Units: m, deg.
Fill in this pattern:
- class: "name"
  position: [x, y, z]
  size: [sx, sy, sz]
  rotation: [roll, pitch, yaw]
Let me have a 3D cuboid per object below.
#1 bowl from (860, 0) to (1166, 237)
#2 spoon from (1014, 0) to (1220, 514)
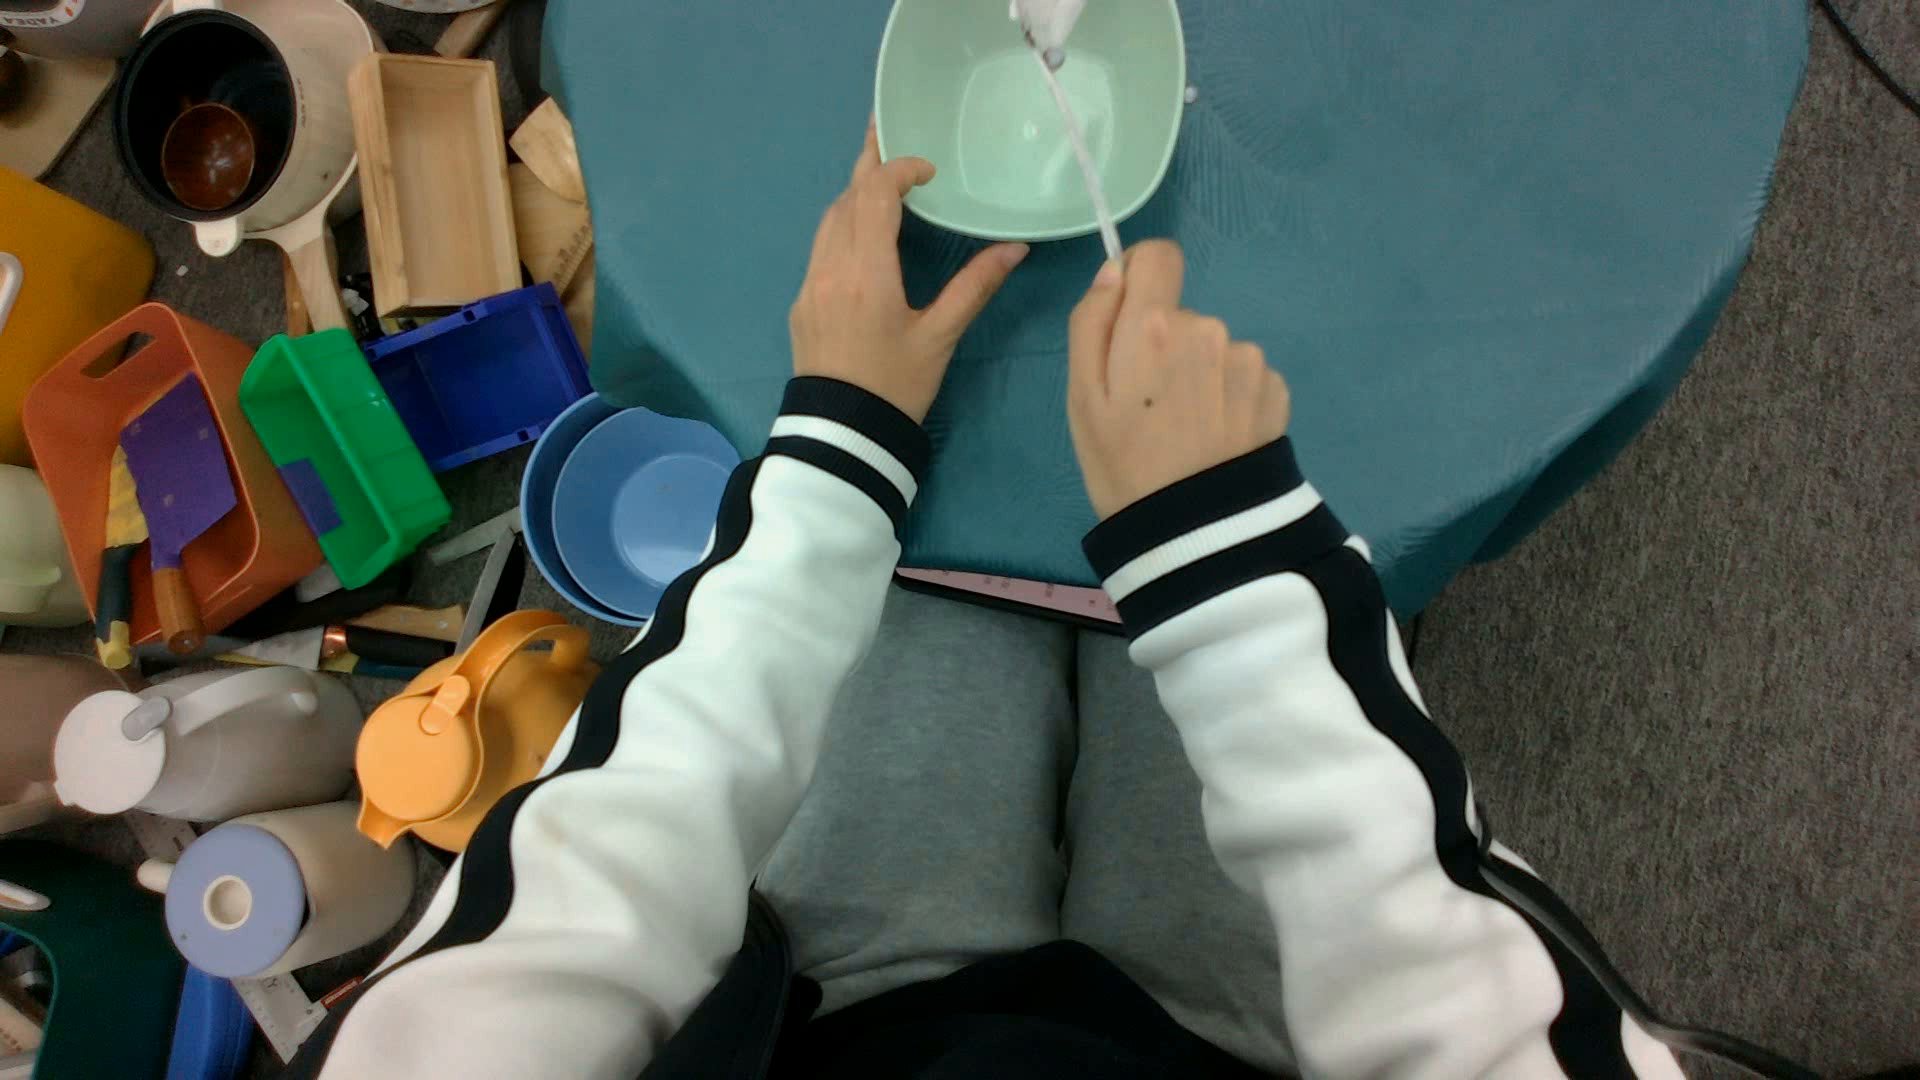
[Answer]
- class: "bowl"
  position: [0.026, -0.202, 0.648]
  size: [0.151, 0.058, 0.151]
  rotation: [-1, 84, 7]
- class: "spoon"
  position: [0.069, -0.148, 0.506]
  size: [0.059, 0.101, 0.277]
  rotation: [-21, 85, 34]
